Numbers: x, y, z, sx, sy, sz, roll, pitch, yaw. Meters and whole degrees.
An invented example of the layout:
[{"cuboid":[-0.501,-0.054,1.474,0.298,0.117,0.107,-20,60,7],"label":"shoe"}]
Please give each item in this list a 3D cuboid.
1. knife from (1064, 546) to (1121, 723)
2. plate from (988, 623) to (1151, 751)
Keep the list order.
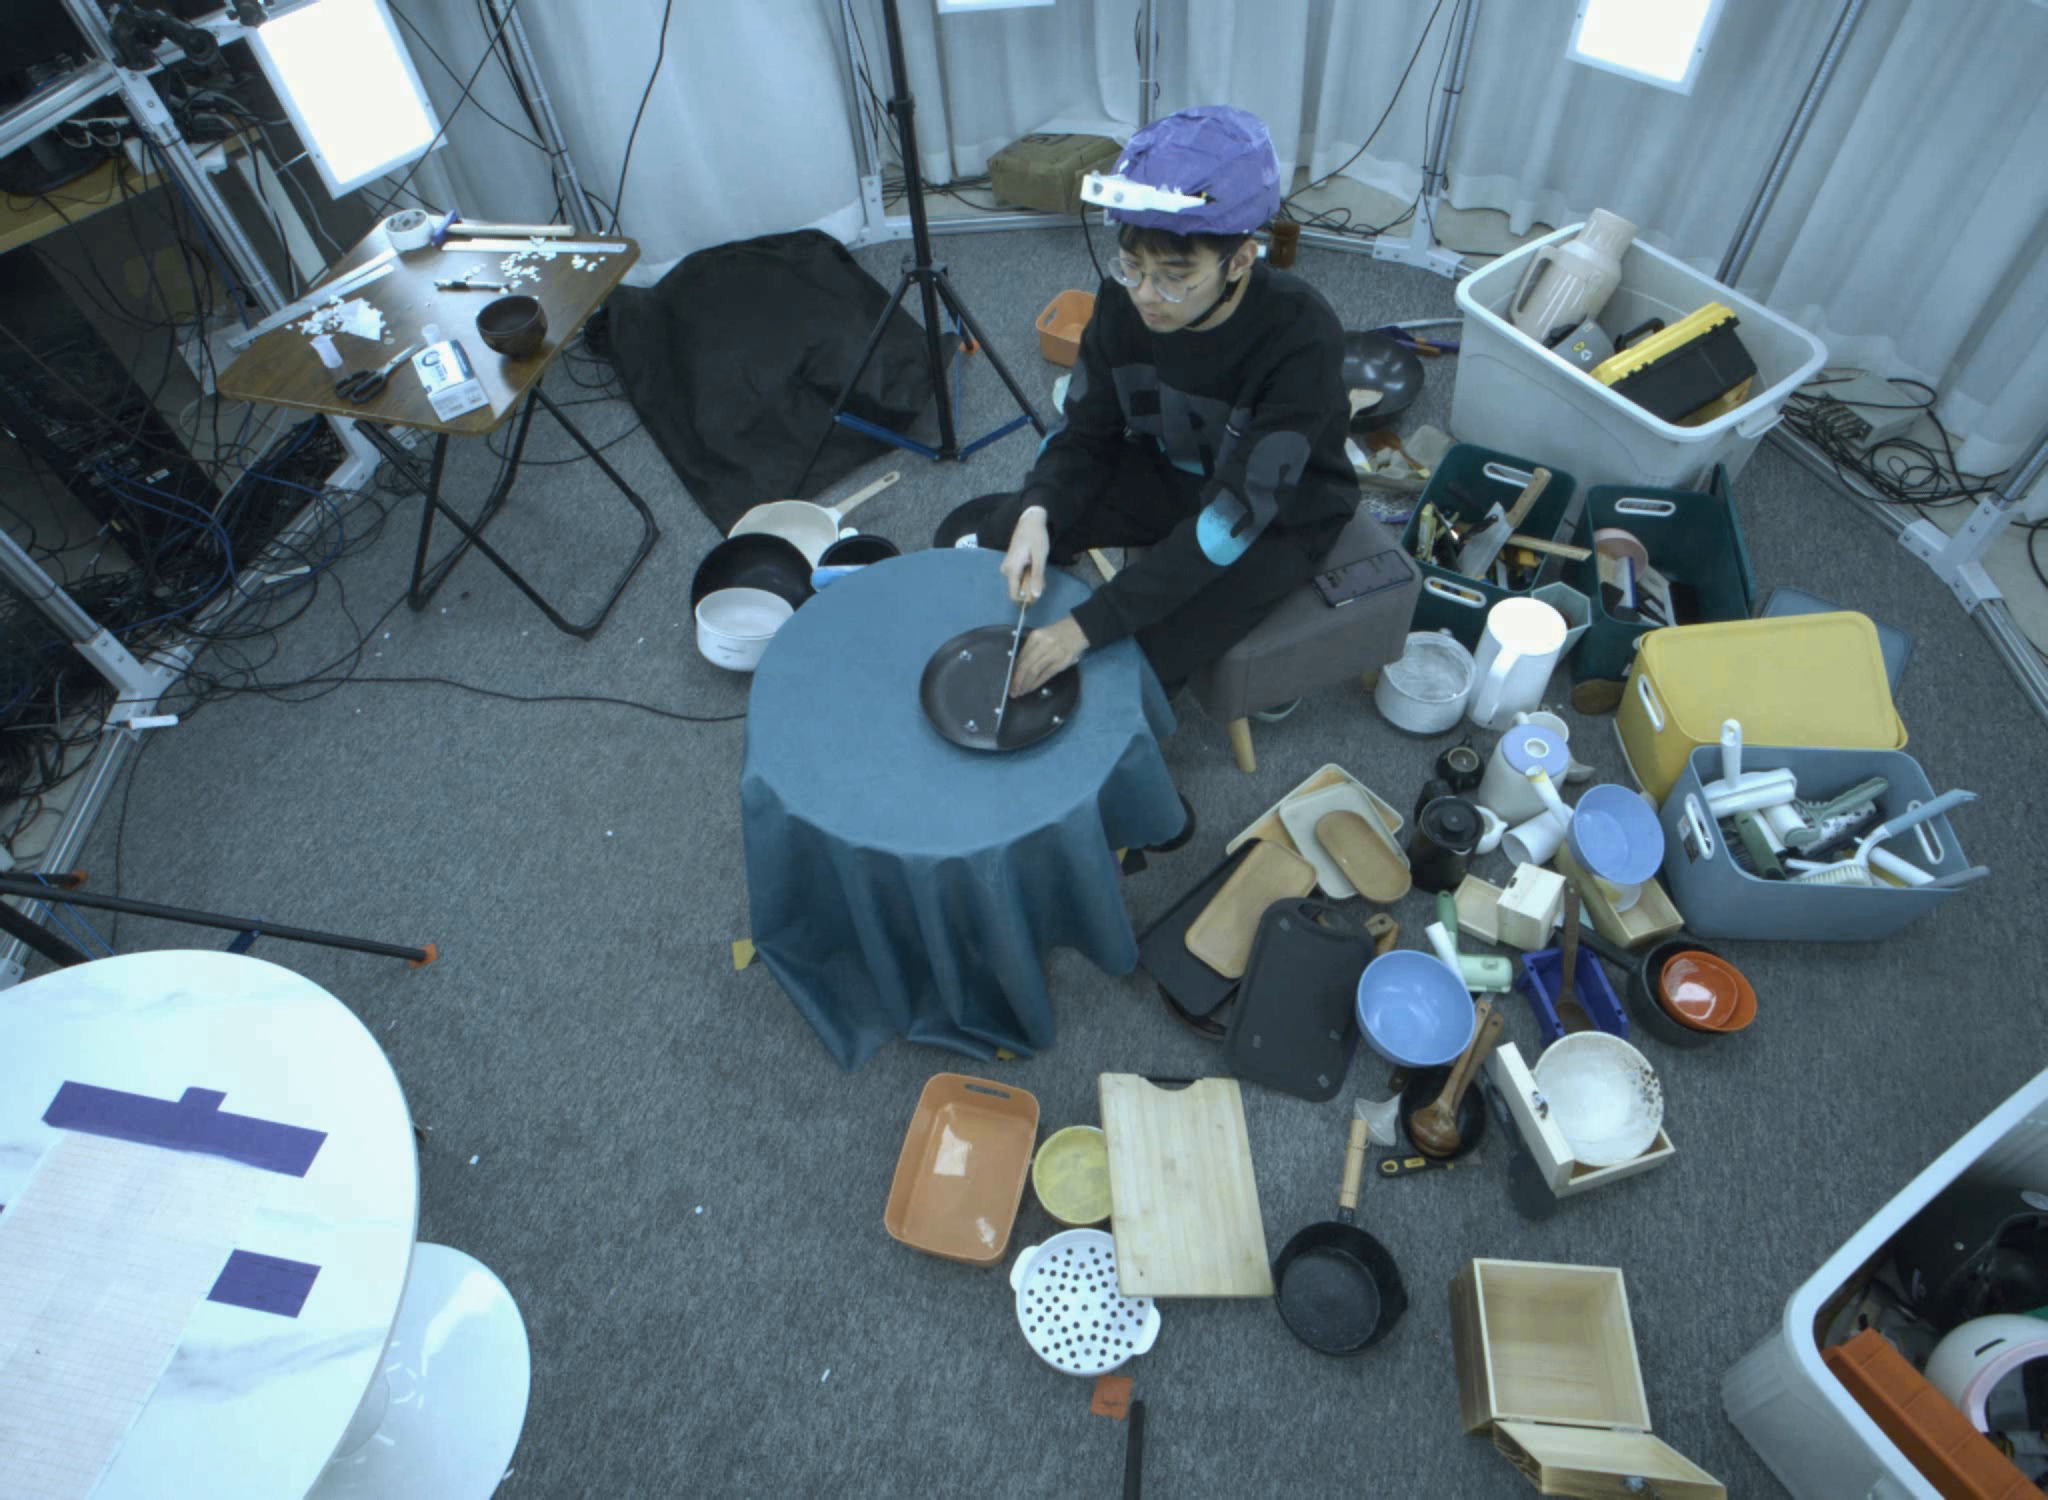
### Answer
[{"cuboid":[0.098,-0.171,1.829,0.021,0.093,0.304,16,57,1],"label":"knife"},{"cuboid":[0.067,-0.092,1.835,0.244,0.024,0.242,-1,55,2],"label":"plate"}]
